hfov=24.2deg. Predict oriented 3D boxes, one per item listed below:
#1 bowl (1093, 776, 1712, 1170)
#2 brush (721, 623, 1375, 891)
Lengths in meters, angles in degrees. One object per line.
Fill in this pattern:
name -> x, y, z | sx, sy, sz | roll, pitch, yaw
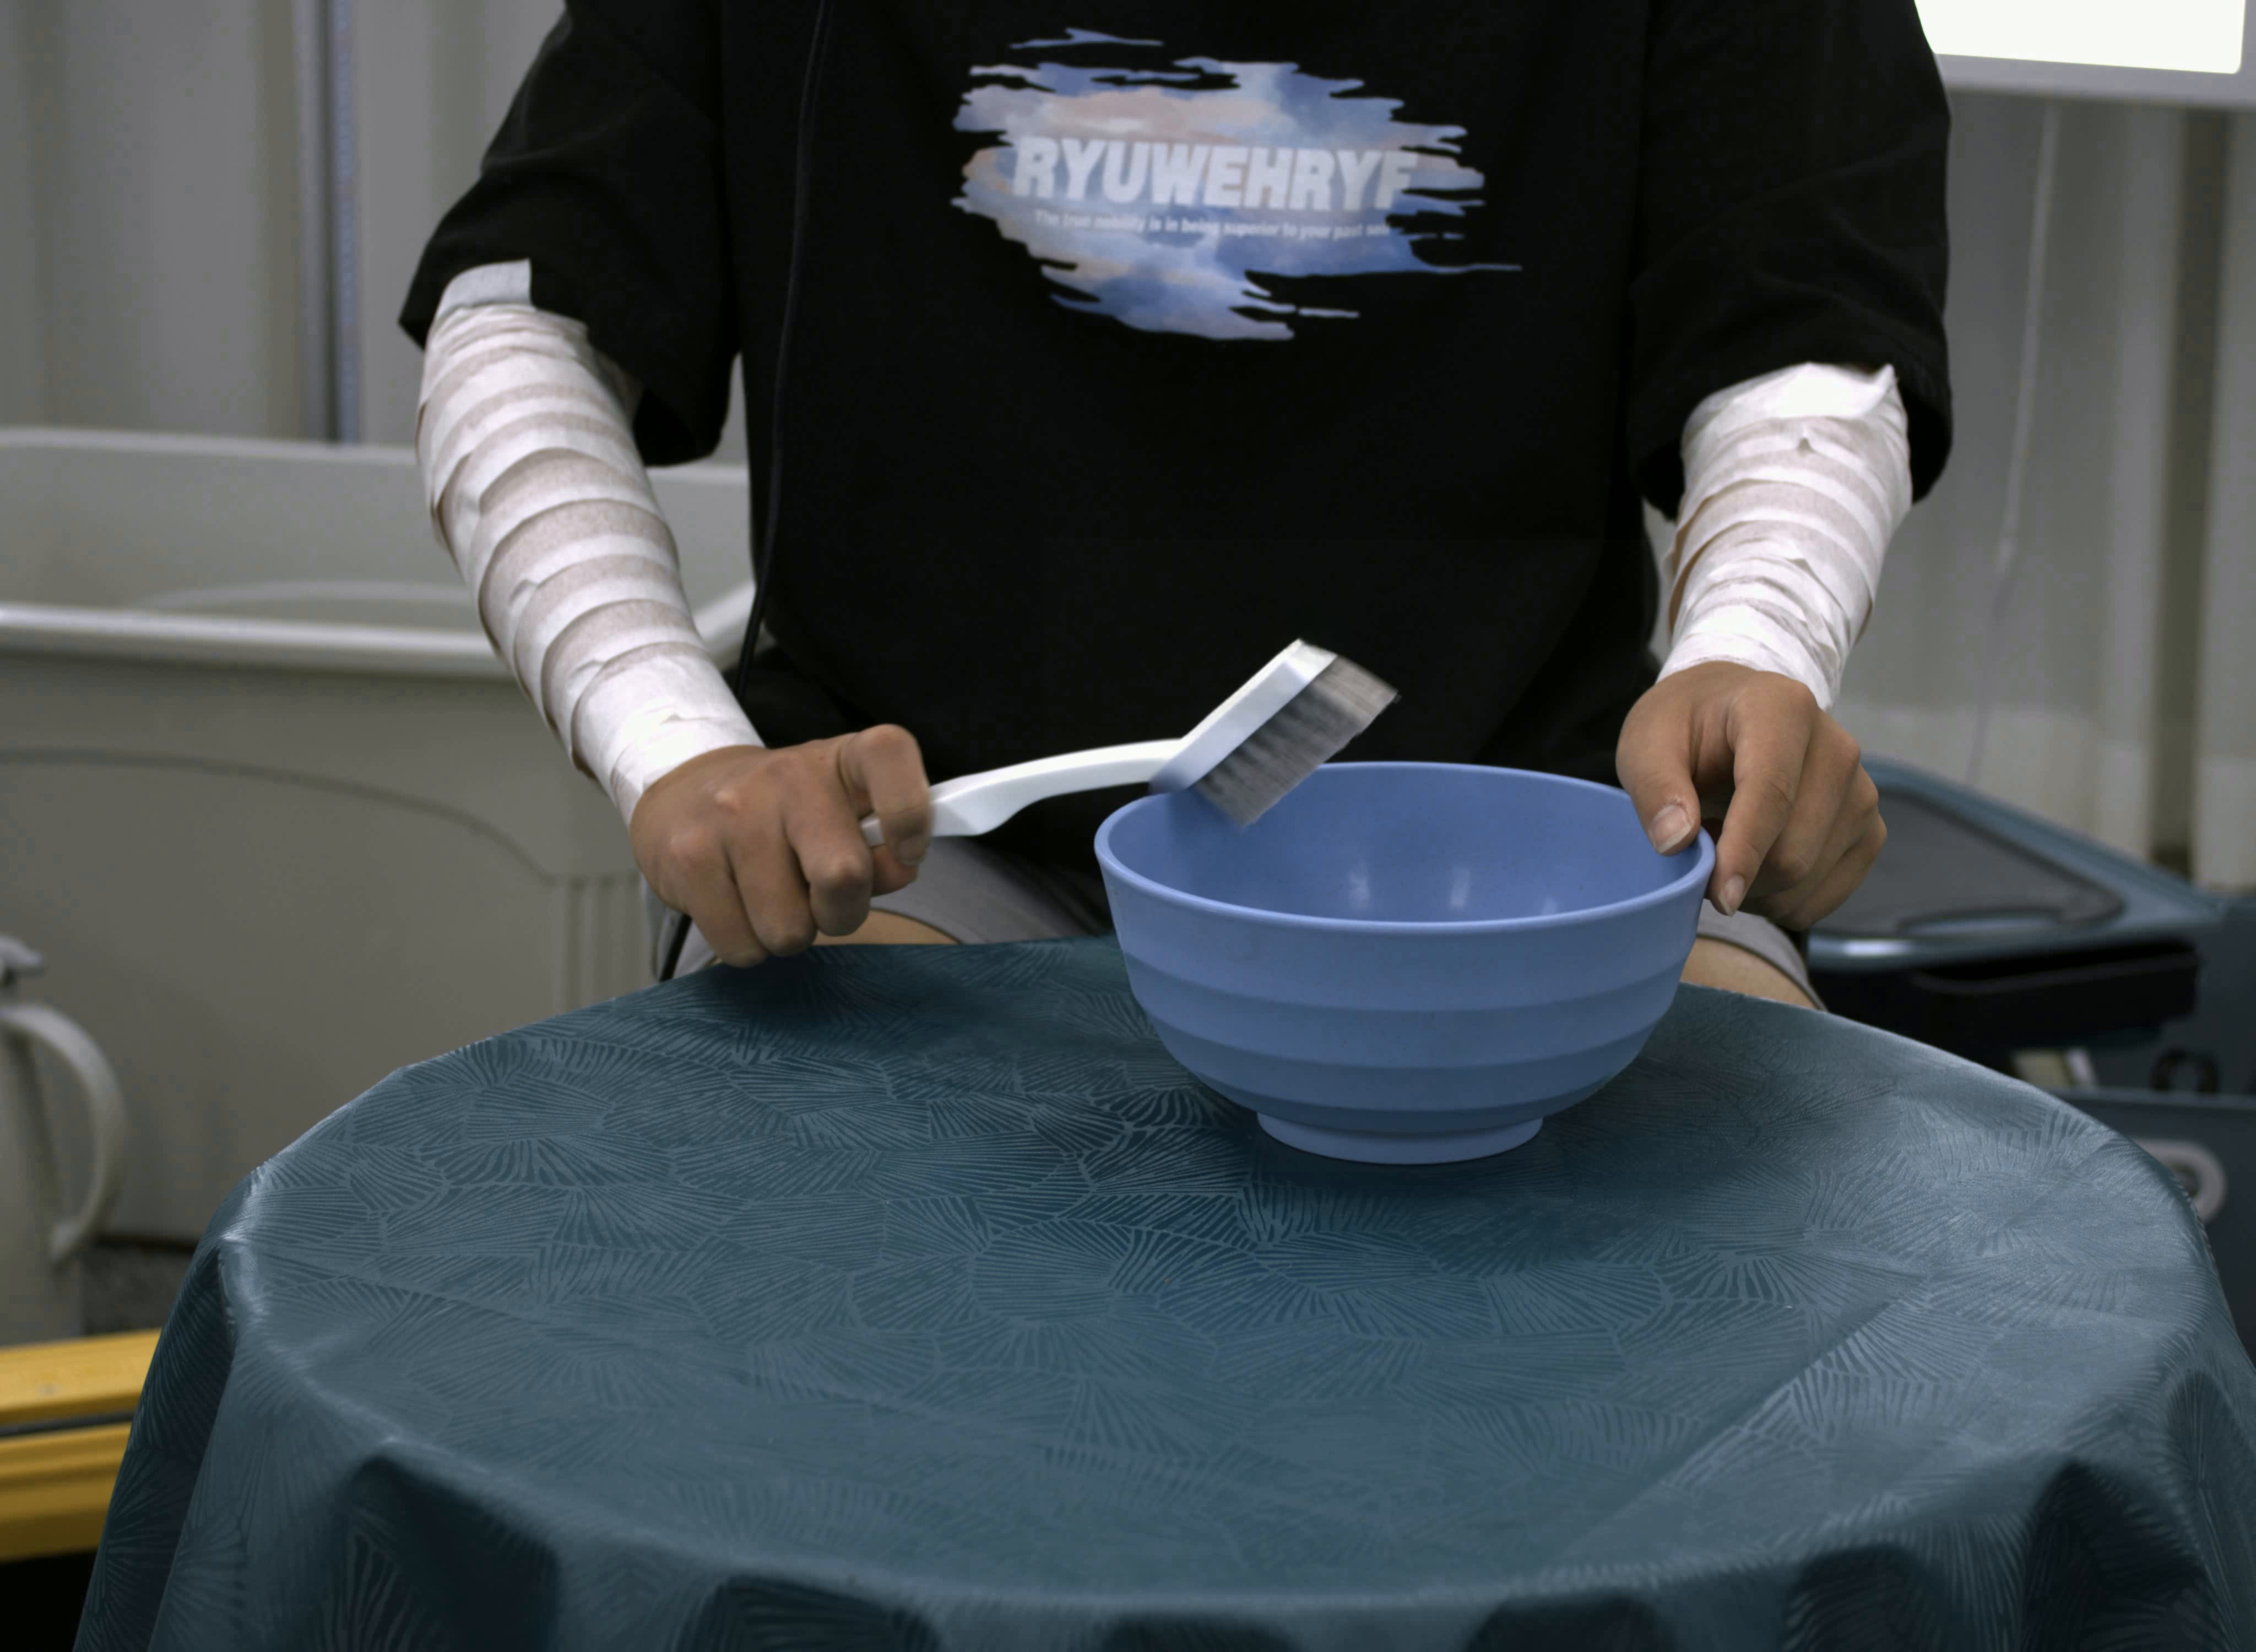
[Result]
bowl -> 0.088, 0.051, 1.679 | 0.196, 0.096, 0.195 | -1, 14, 1
brush -> -0.028, -0.005, 1.745 | 0.242, 0.050, 0.034 | -22, 14, 26
